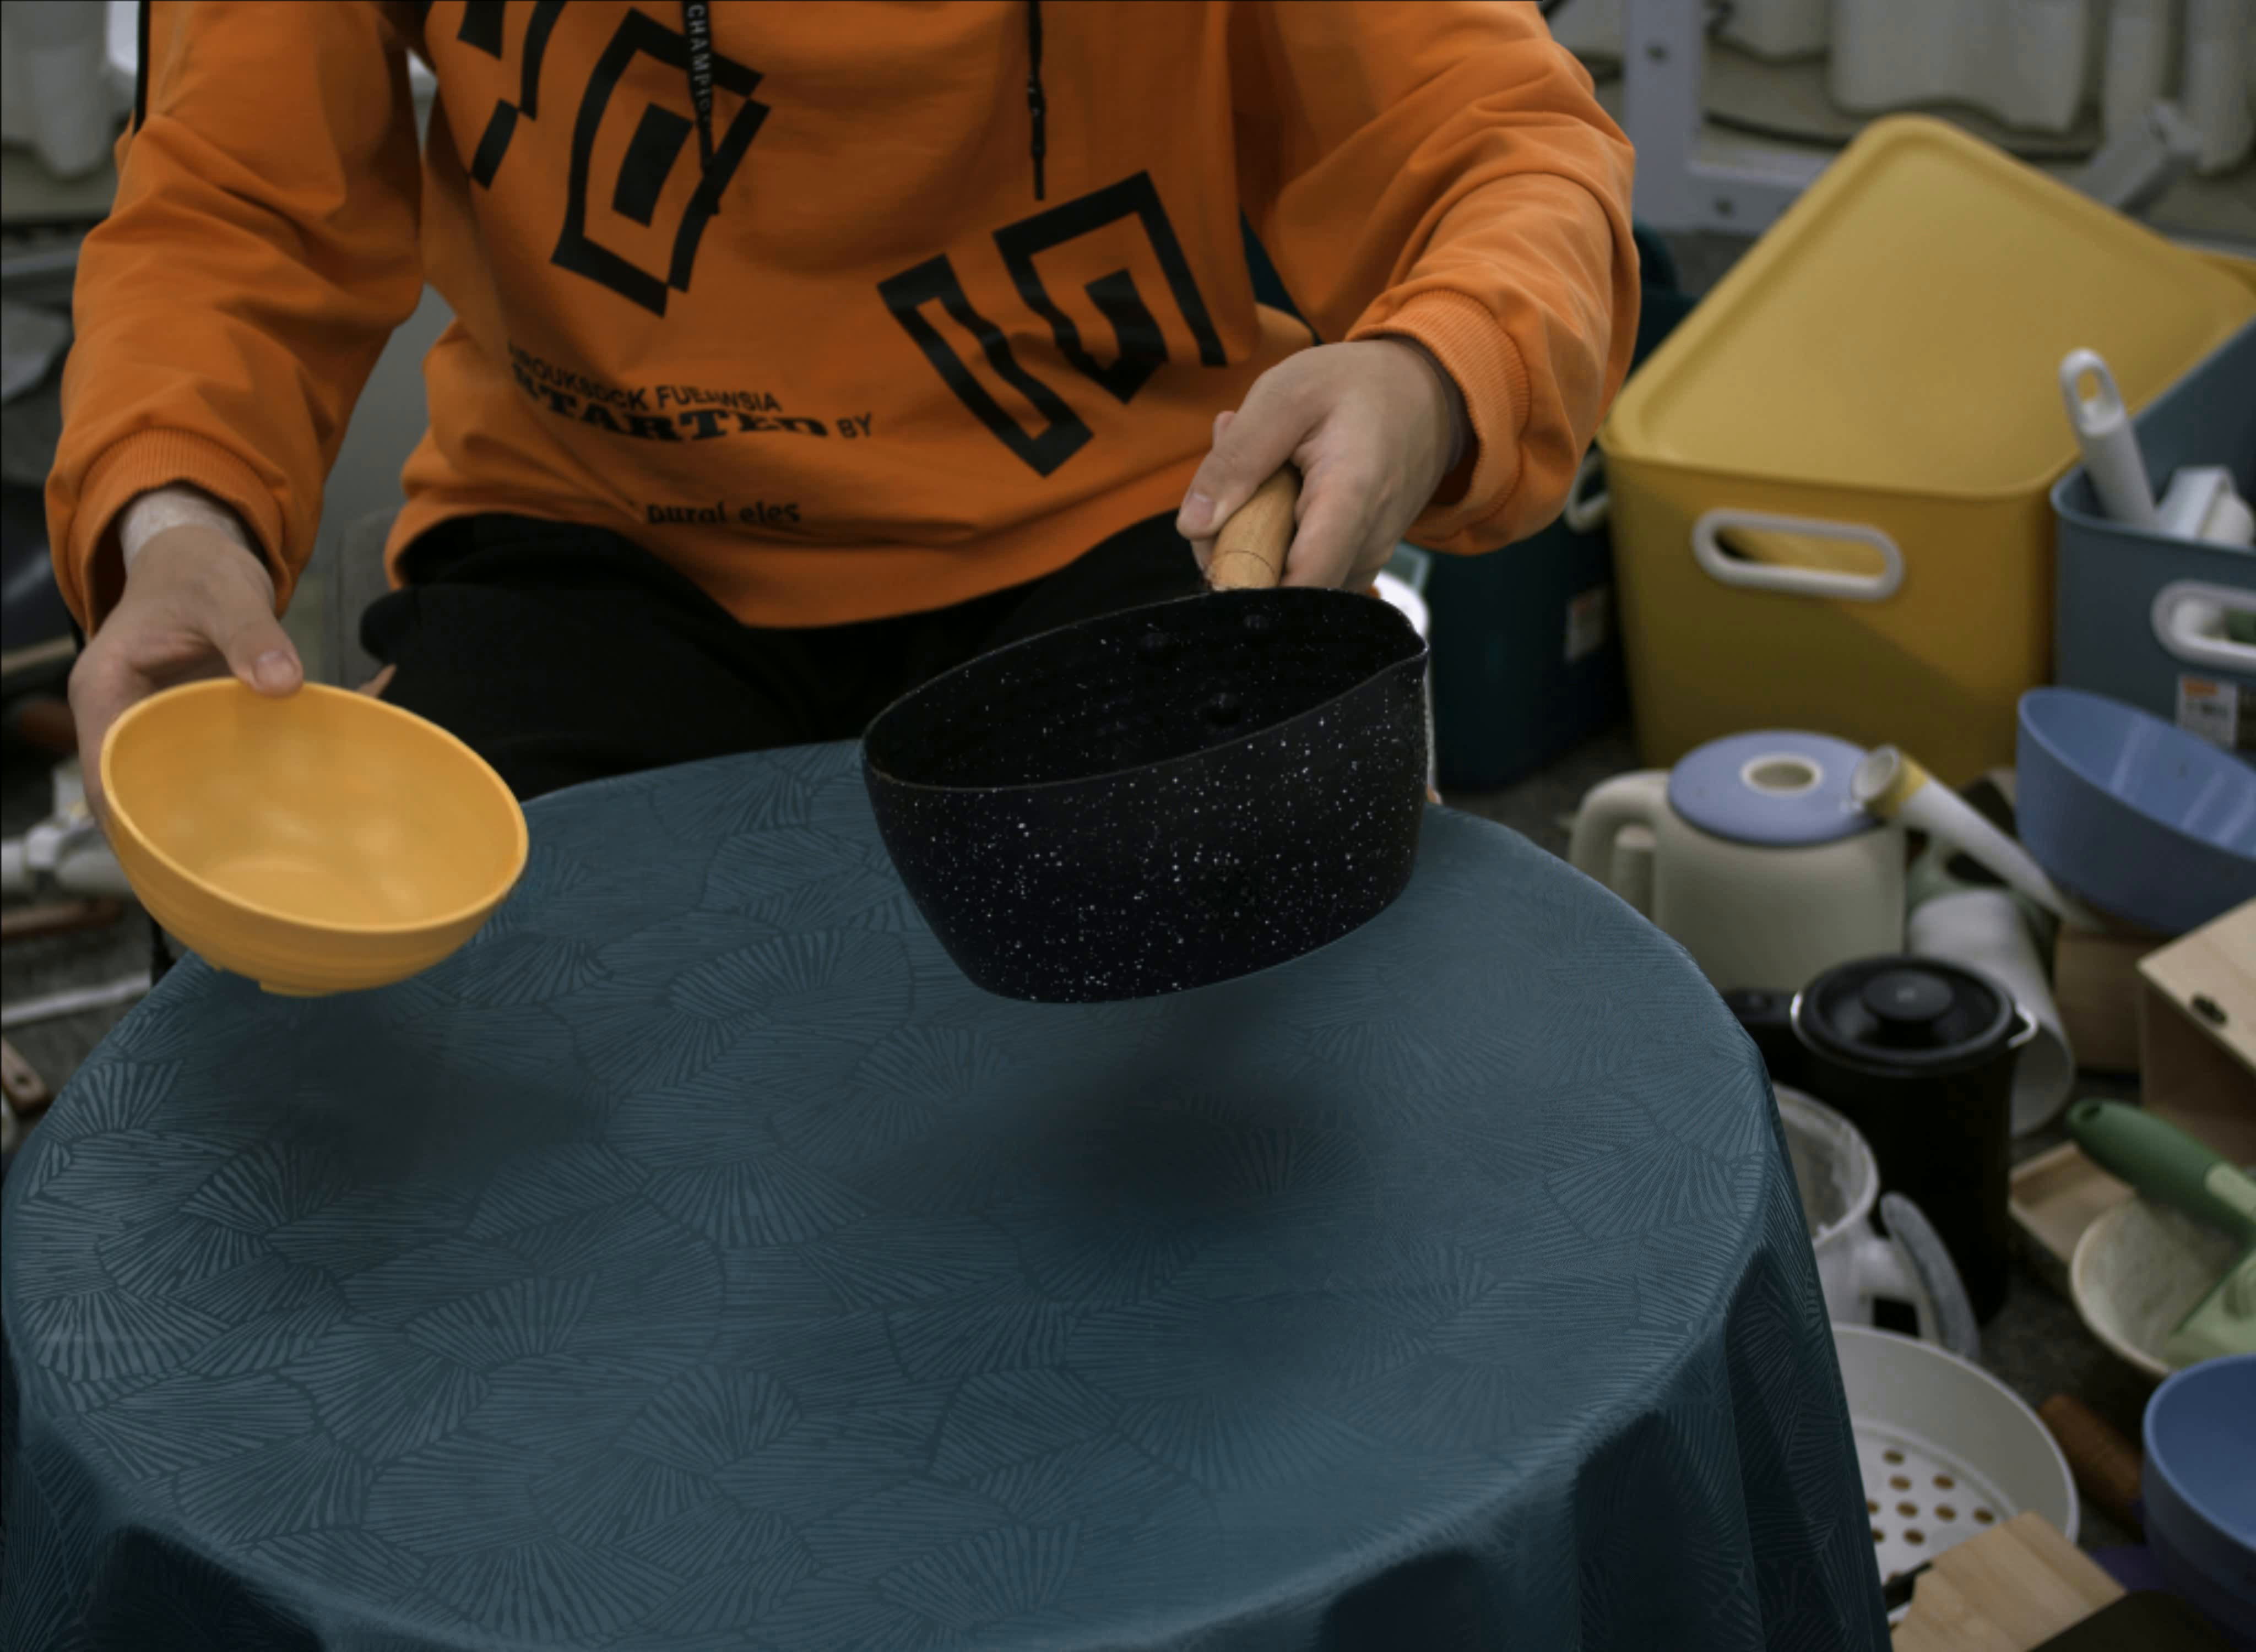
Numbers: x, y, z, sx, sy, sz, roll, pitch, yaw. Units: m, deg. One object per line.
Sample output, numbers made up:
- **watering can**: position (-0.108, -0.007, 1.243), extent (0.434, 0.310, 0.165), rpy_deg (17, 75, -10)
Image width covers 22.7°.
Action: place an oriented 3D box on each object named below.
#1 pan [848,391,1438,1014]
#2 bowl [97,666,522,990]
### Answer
- **pan**: position (0.027, -0.046, 1.909), extent (0.205, 0.107, 0.348), rpy_deg (-9, 19, 18)
- **bowl**: position (-0.279, 0.012, 1.881), extent (0.145, 0.059, 0.148), rpy_deg (16, 29, -9)
